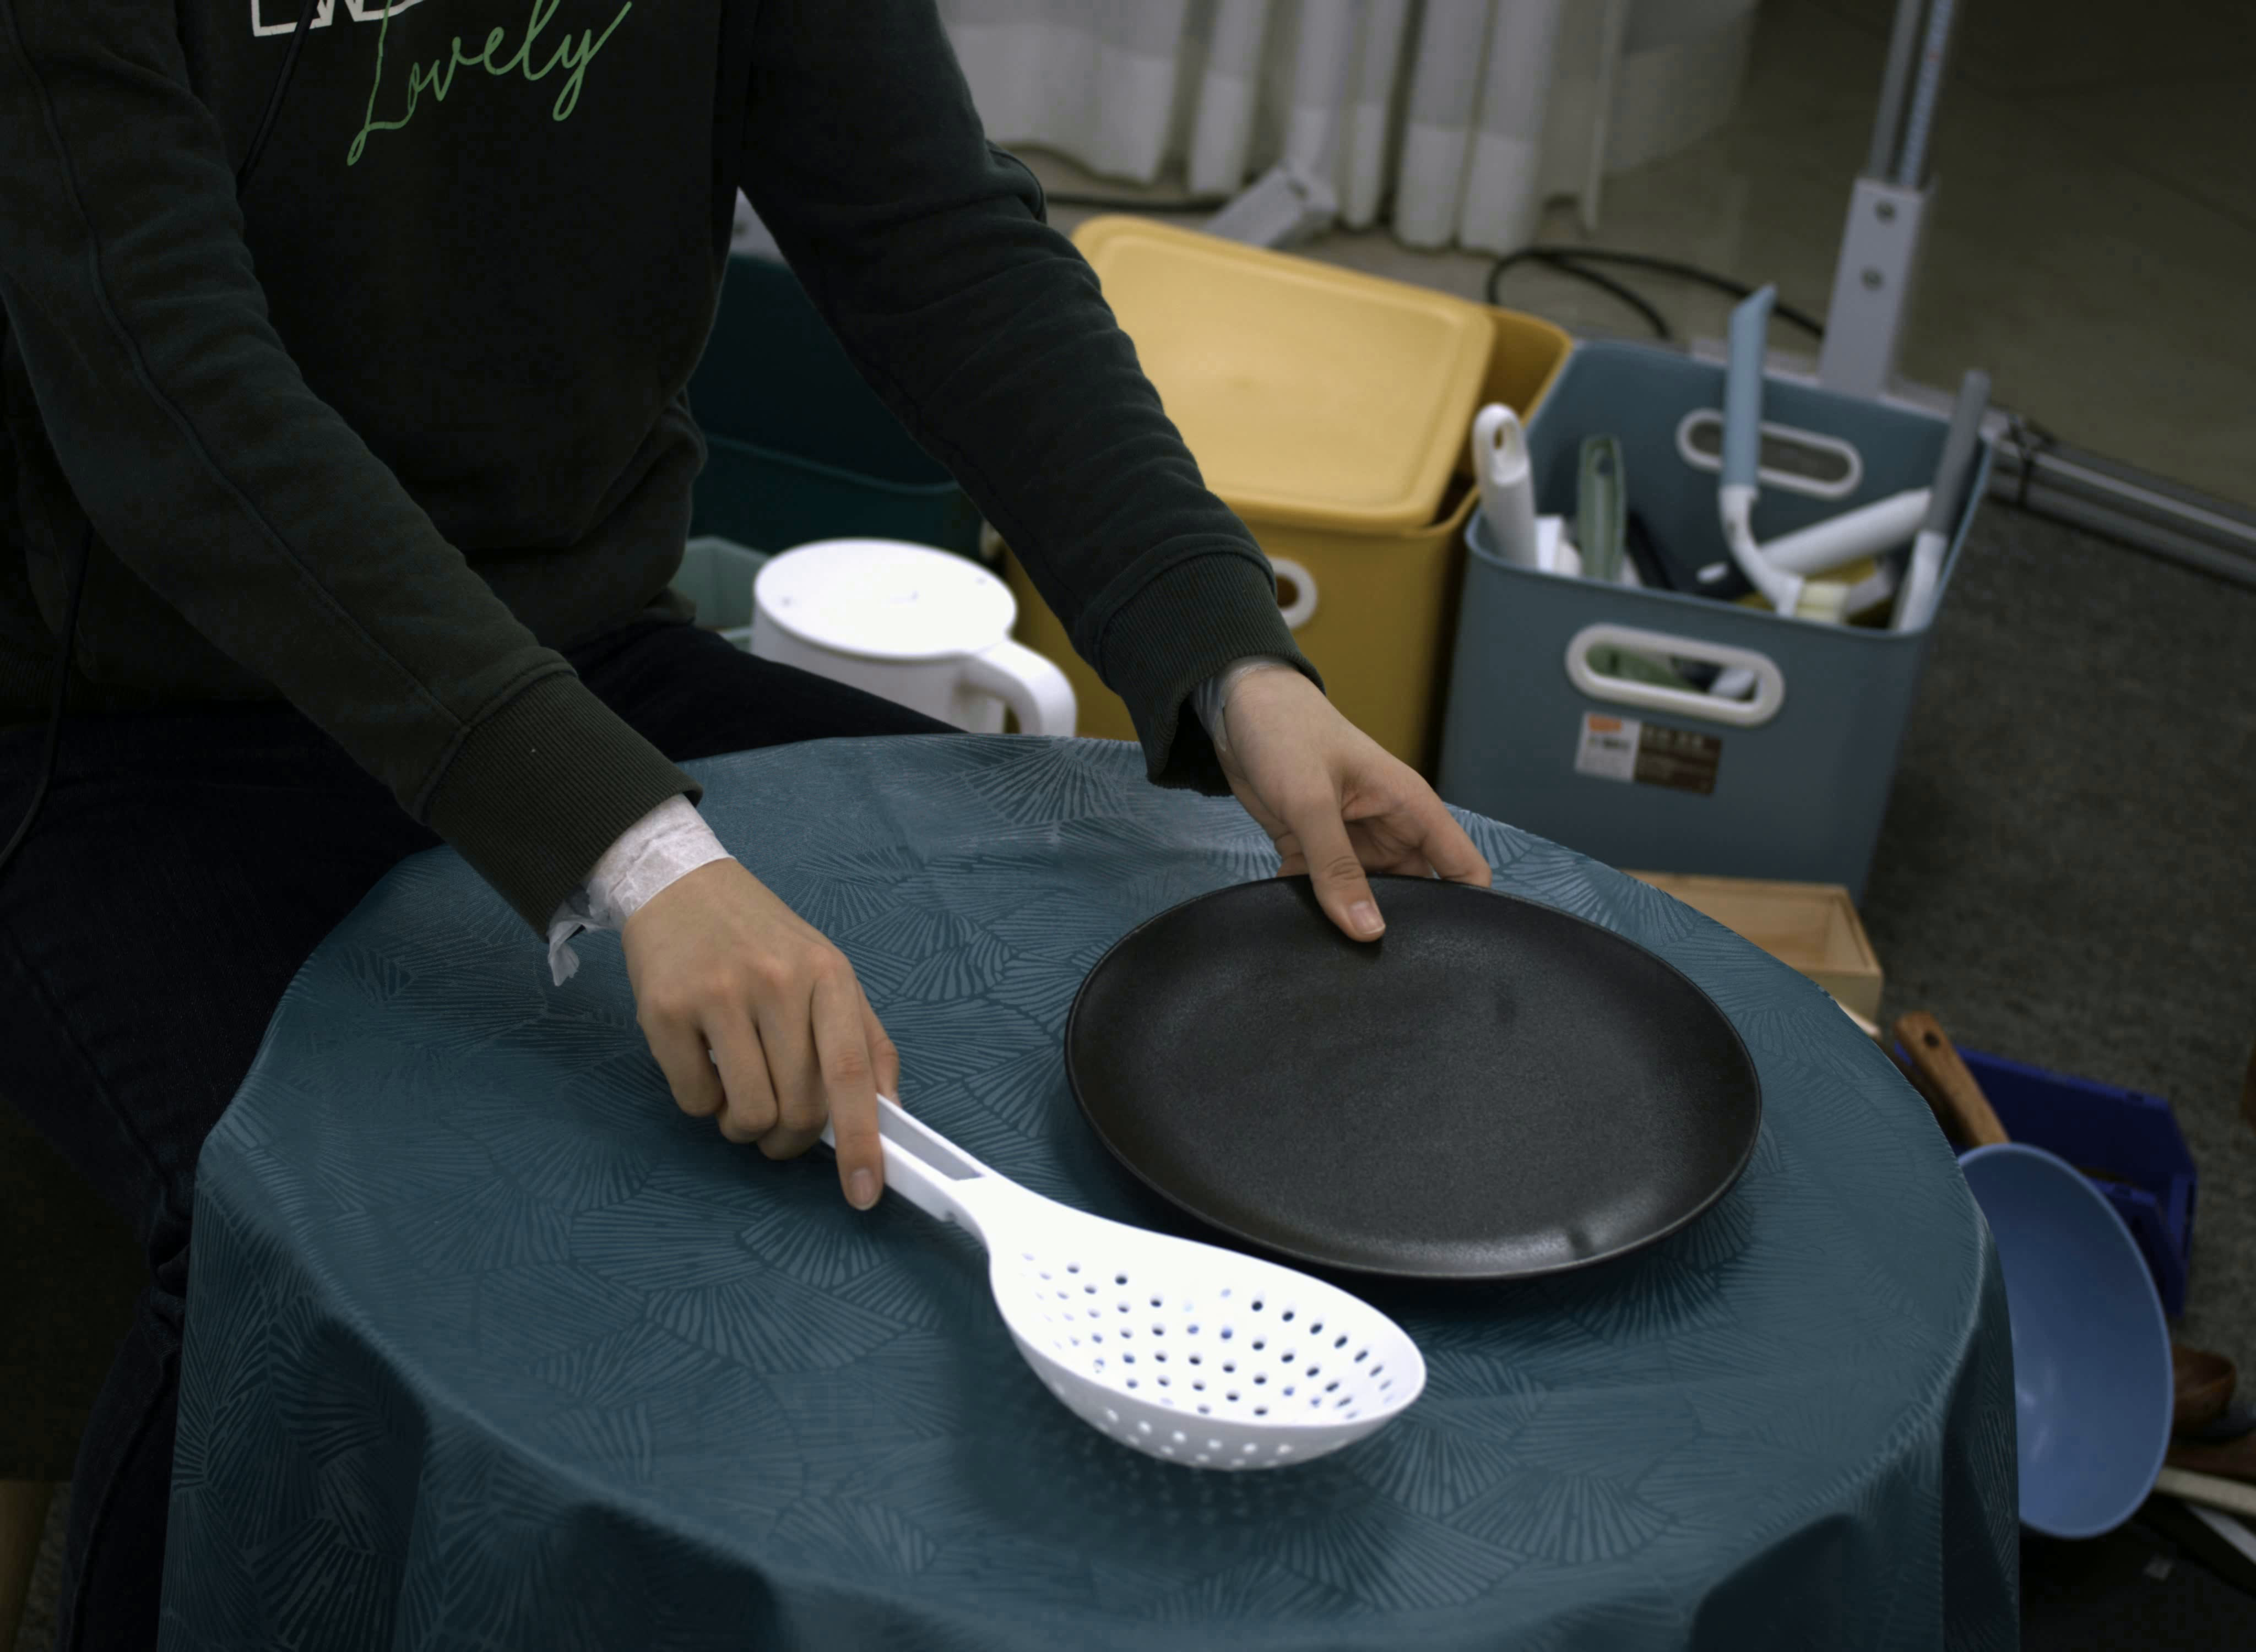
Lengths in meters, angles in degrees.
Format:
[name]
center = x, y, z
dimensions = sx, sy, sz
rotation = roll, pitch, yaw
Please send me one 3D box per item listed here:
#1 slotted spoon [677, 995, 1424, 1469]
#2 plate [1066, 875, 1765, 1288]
[slotted spoon]
center = -0.042, 0.126, 1.730
dimensions = 0.135, 0.045, 0.353
rotation = -2, 26, -40
[plate]
center = 0.099, 0.091, 1.843
dimensions = 0.243, 0.023, 0.246
rotation = 3, 32, -3
